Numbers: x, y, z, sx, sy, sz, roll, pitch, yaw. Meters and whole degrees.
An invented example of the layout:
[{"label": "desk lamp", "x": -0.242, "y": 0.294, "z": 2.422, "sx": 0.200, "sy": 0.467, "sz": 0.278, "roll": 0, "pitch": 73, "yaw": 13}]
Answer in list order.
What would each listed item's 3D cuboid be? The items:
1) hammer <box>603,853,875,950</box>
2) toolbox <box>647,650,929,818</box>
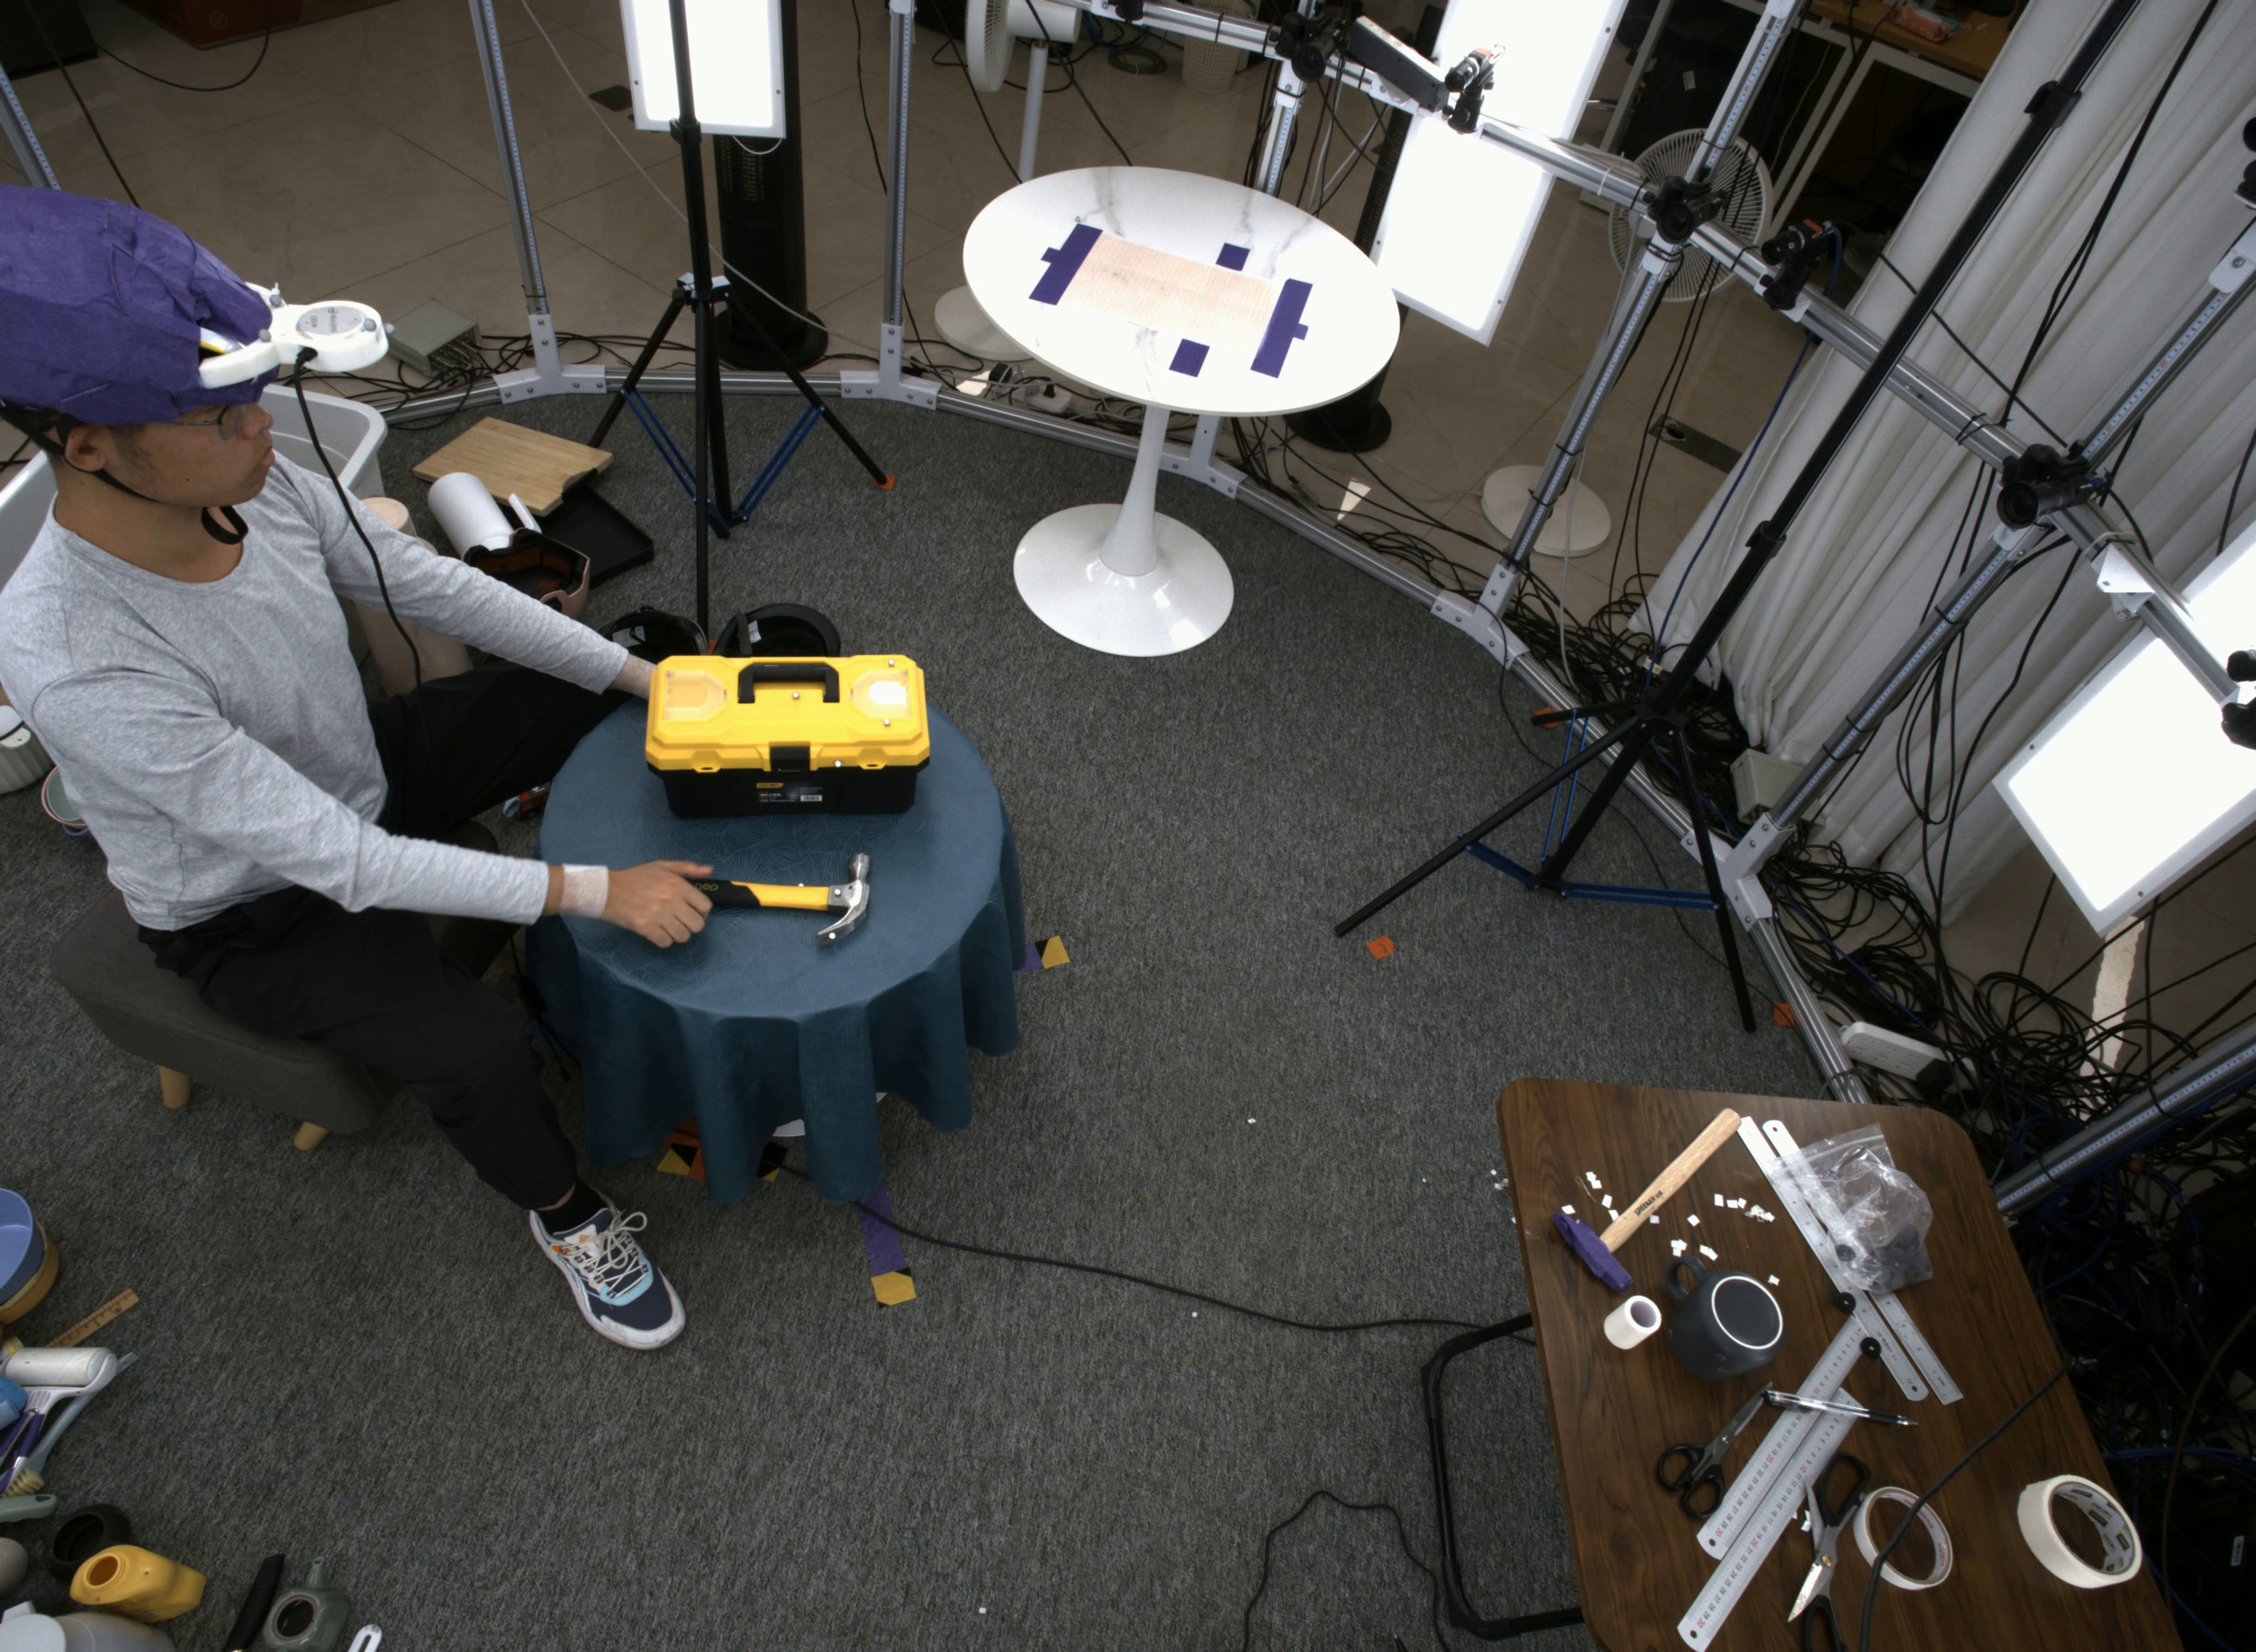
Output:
[{"label": "hammer", "x": -0.494, "y": 0.085, "z": 1.630, "sx": 0.338, "sy": 0.033, "sz": 0.129, "roll": 4, "pitch": 56, "yaw": -10}, {"label": "toolbox", "x": -0.441, "y": -0.117, "z": 1.696, "sx": 0.352, "sy": 0.176, "sz": 0.177, "roll": -2, "pitch": 54, "yaw": -14}]
